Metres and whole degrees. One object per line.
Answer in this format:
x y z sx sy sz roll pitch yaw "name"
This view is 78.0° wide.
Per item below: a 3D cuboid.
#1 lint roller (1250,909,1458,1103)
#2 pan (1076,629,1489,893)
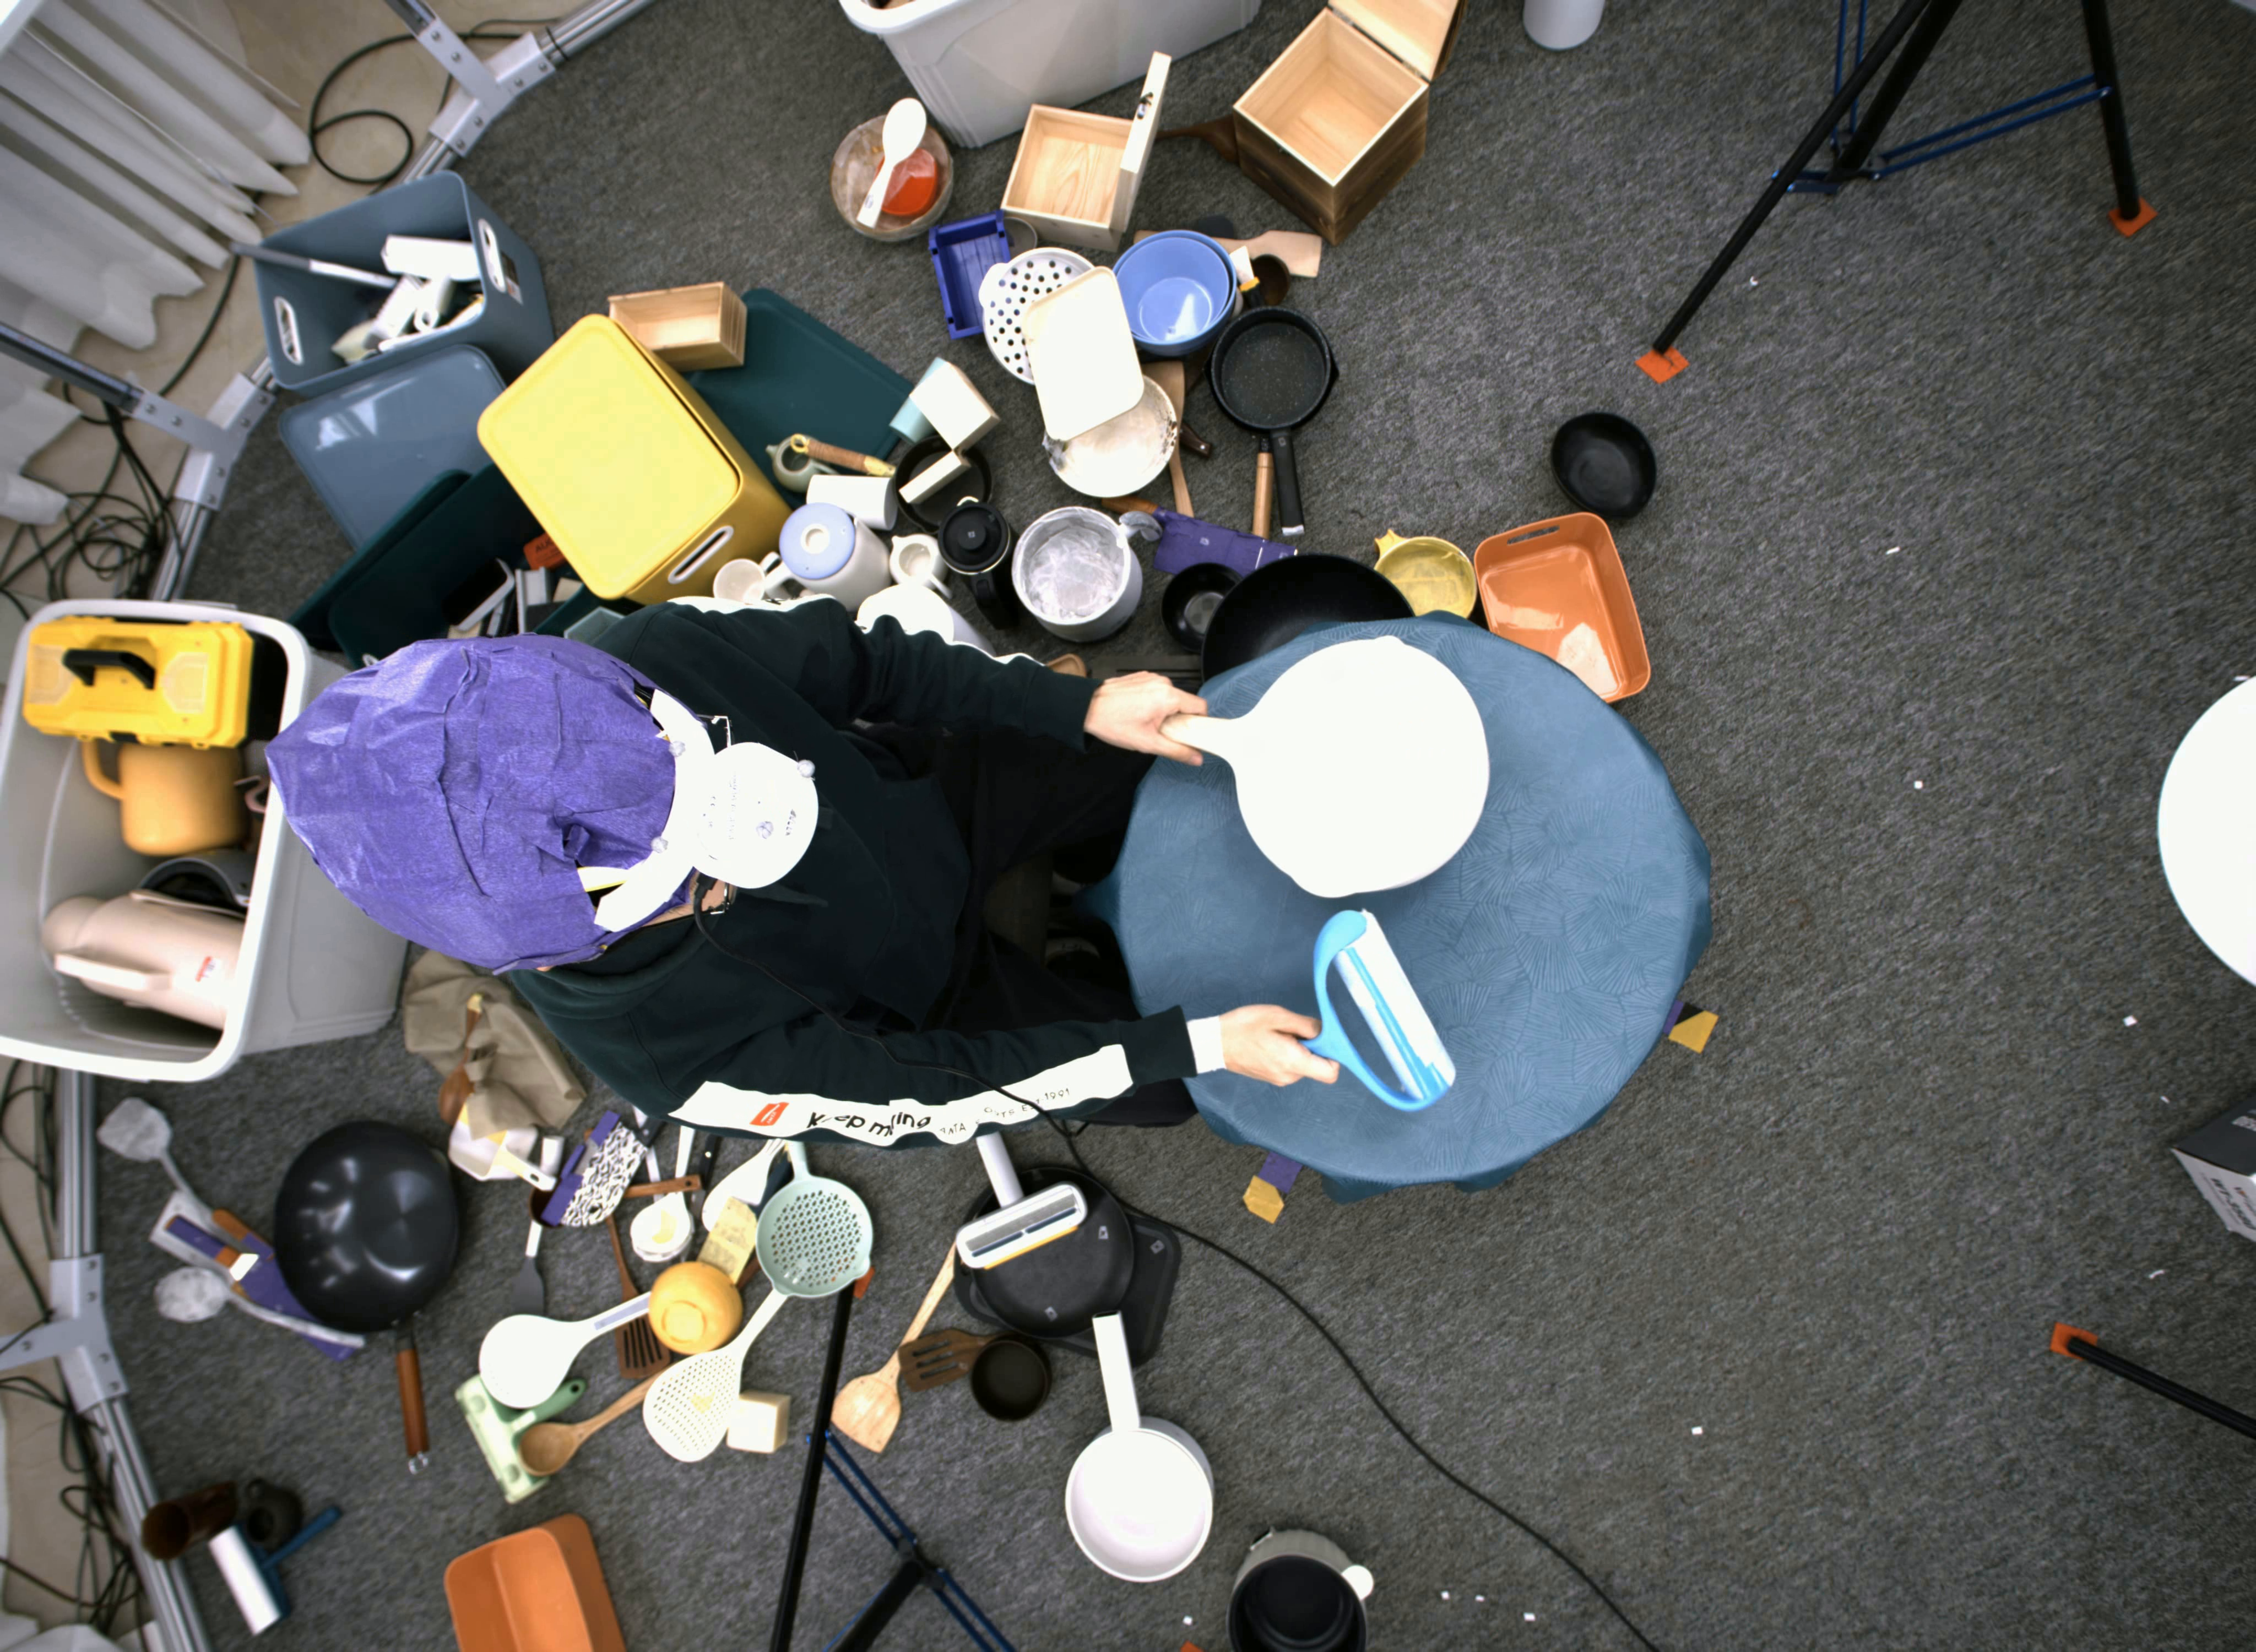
0.199 0.192 1.331 0.183 0.066 0.232 -25 119 24 "lint roller"
0.154 -0.077 1.400 0.435 0.102 0.263 13 89 30 "pan"
